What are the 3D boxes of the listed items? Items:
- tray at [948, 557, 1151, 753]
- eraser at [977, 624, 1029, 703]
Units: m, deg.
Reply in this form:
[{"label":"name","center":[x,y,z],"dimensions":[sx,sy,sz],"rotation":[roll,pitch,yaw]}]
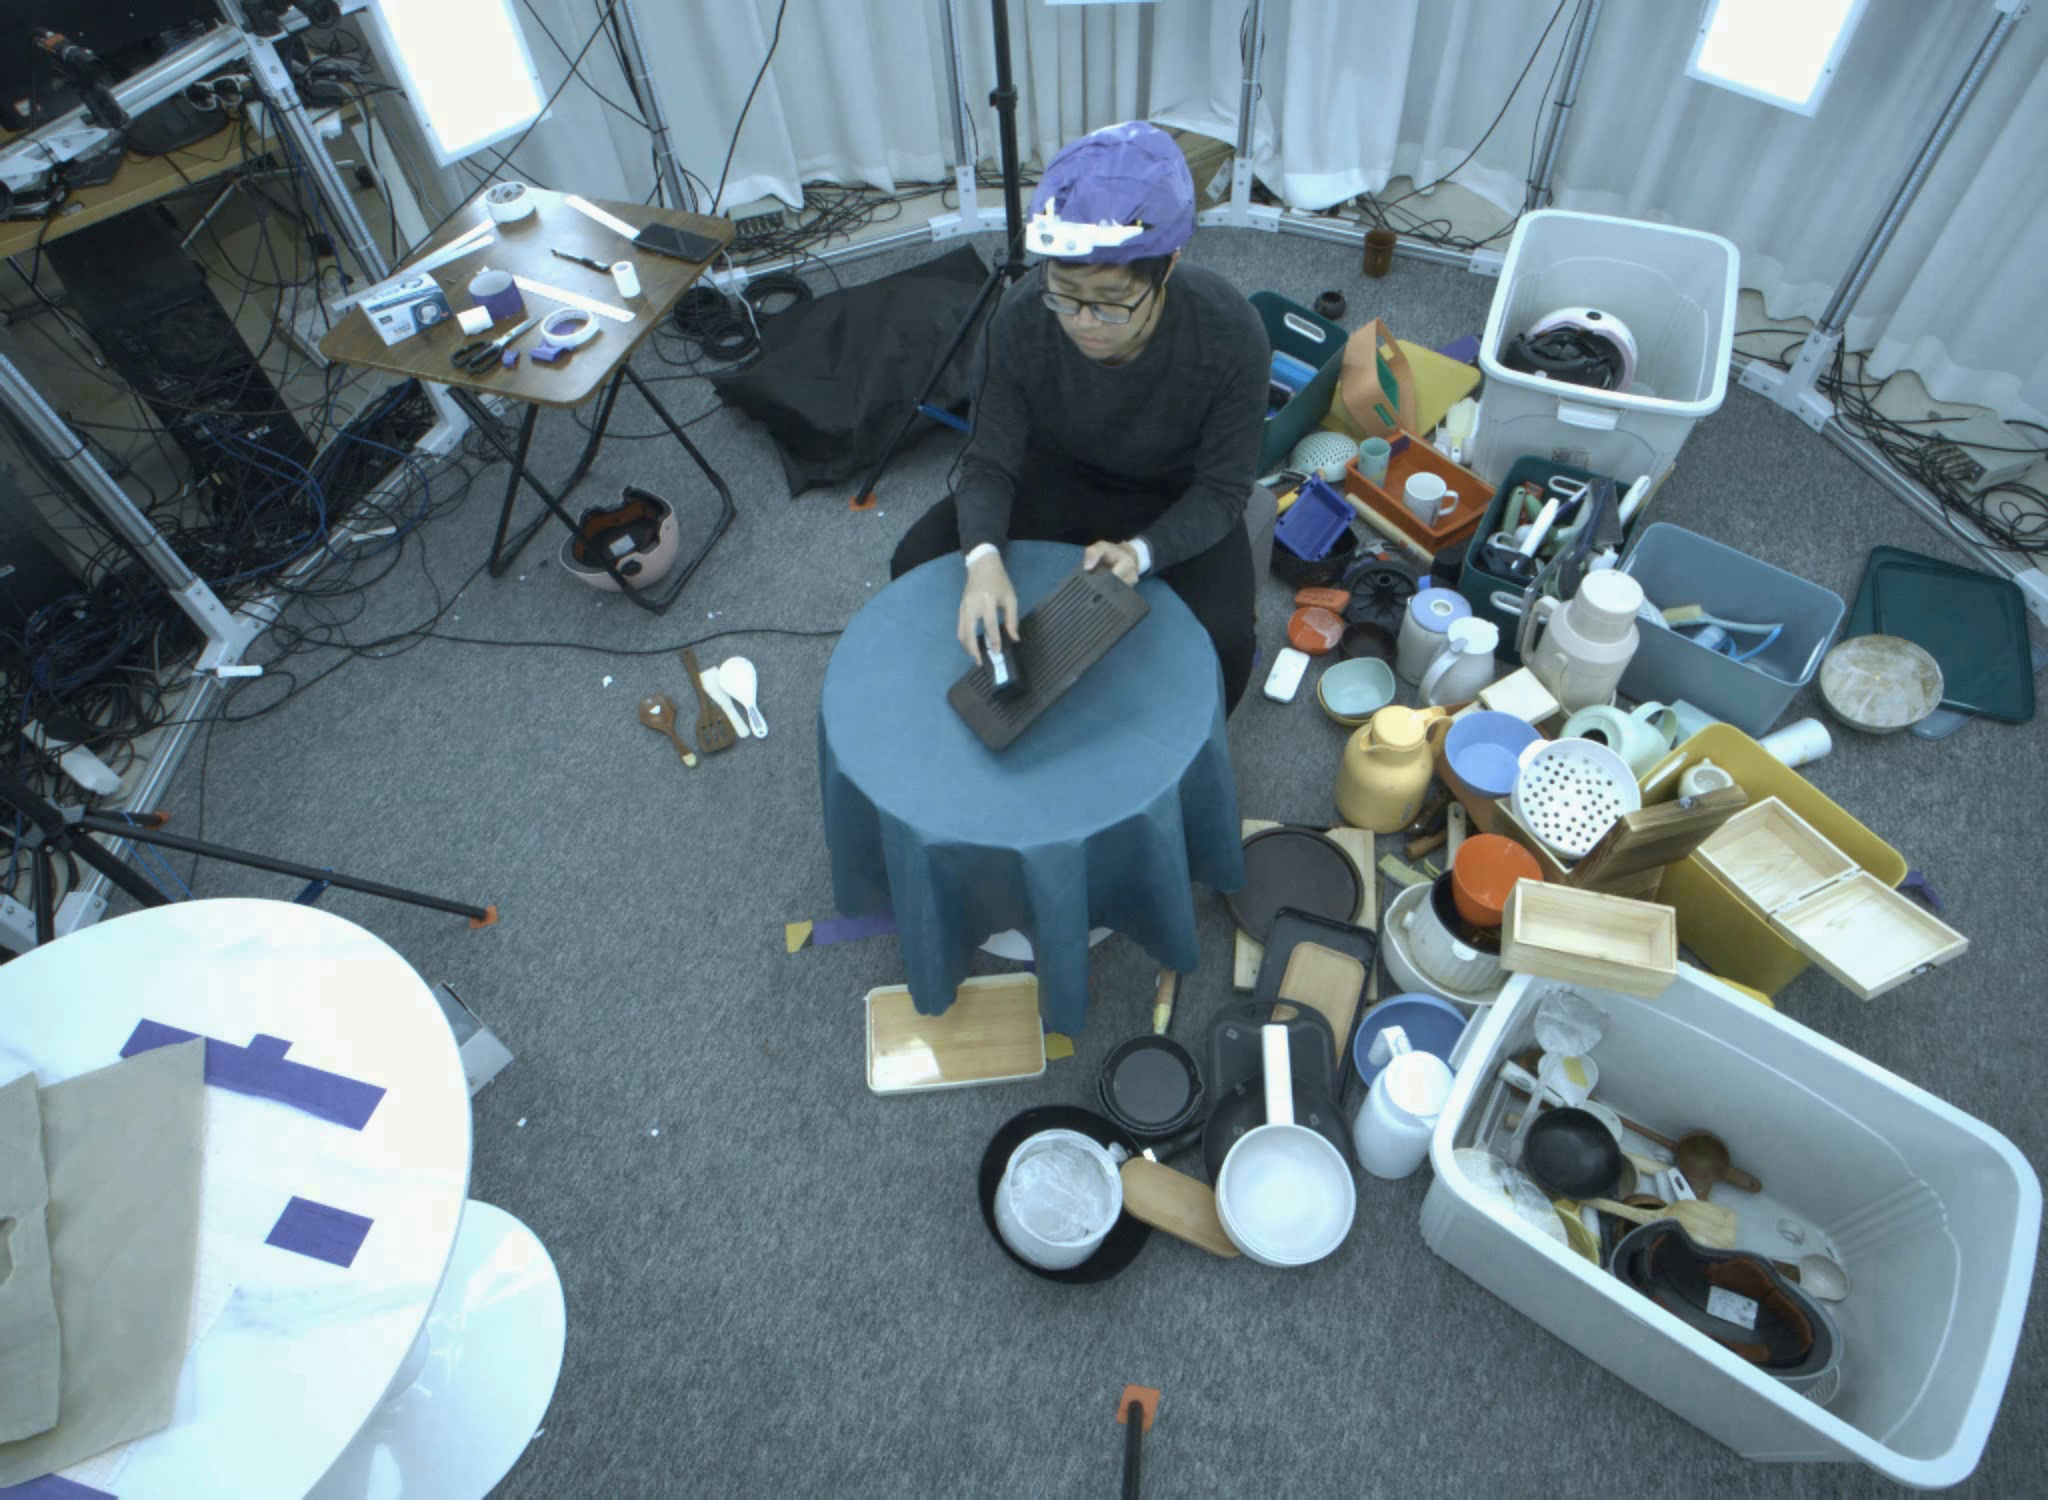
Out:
[{"label":"tray","center":[0.035,-0.140,1.792],"dimensions":[0.306,0.019,0.166],"rotation":[-44,48,0]},{"label":"eraser","center":[-0.031,-0.127,1.796],"dimensions":[0.053,0.031,0.123],"rotation":[-27,49,11]}]
